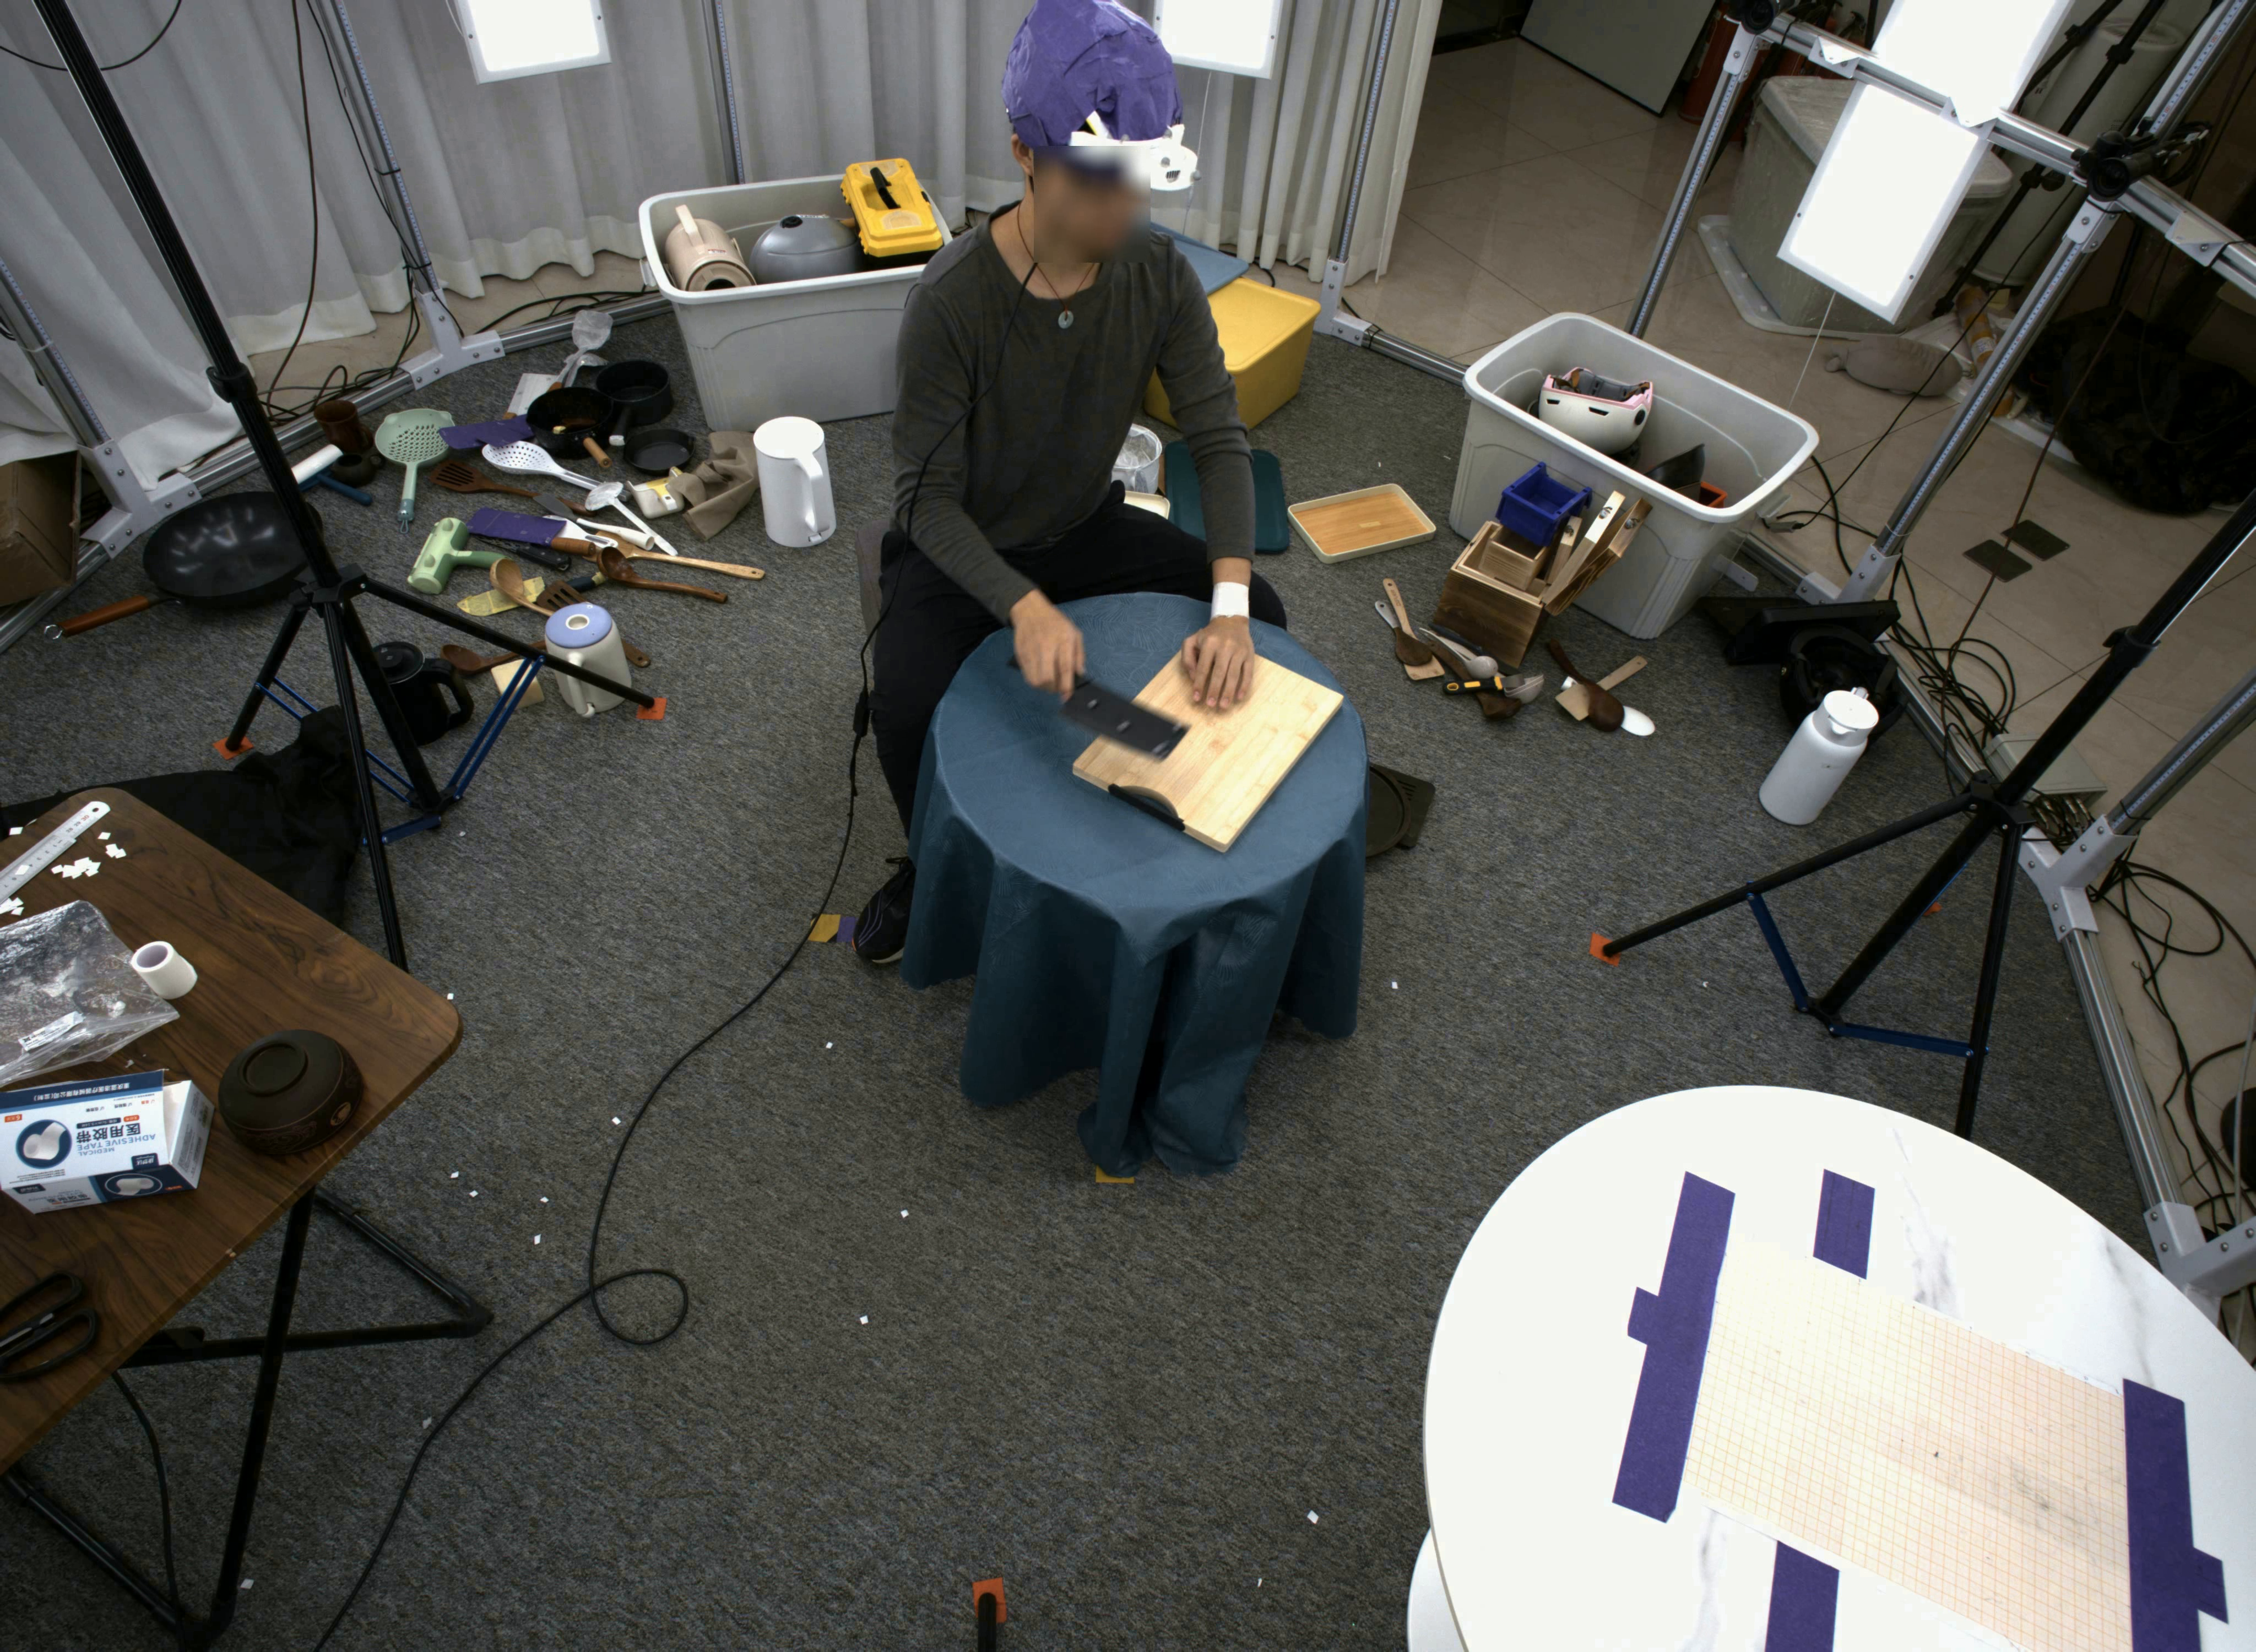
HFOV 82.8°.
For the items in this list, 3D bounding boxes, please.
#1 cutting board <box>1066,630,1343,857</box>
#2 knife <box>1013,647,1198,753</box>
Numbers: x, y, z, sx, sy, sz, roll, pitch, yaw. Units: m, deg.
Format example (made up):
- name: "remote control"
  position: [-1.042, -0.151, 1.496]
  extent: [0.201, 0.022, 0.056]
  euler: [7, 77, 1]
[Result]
- name: "cutting board"
  position: [0.113, -0.125, 1.773]
  extent: [0.253, 0.023, 0.354]
  euler: [27, 52, 19]
- name: "knife"
  position: [-0.040, -0.171, 1.688]
  extent: [0.307, 0.020, 0.081]
  euler: [31, 72, 34]
